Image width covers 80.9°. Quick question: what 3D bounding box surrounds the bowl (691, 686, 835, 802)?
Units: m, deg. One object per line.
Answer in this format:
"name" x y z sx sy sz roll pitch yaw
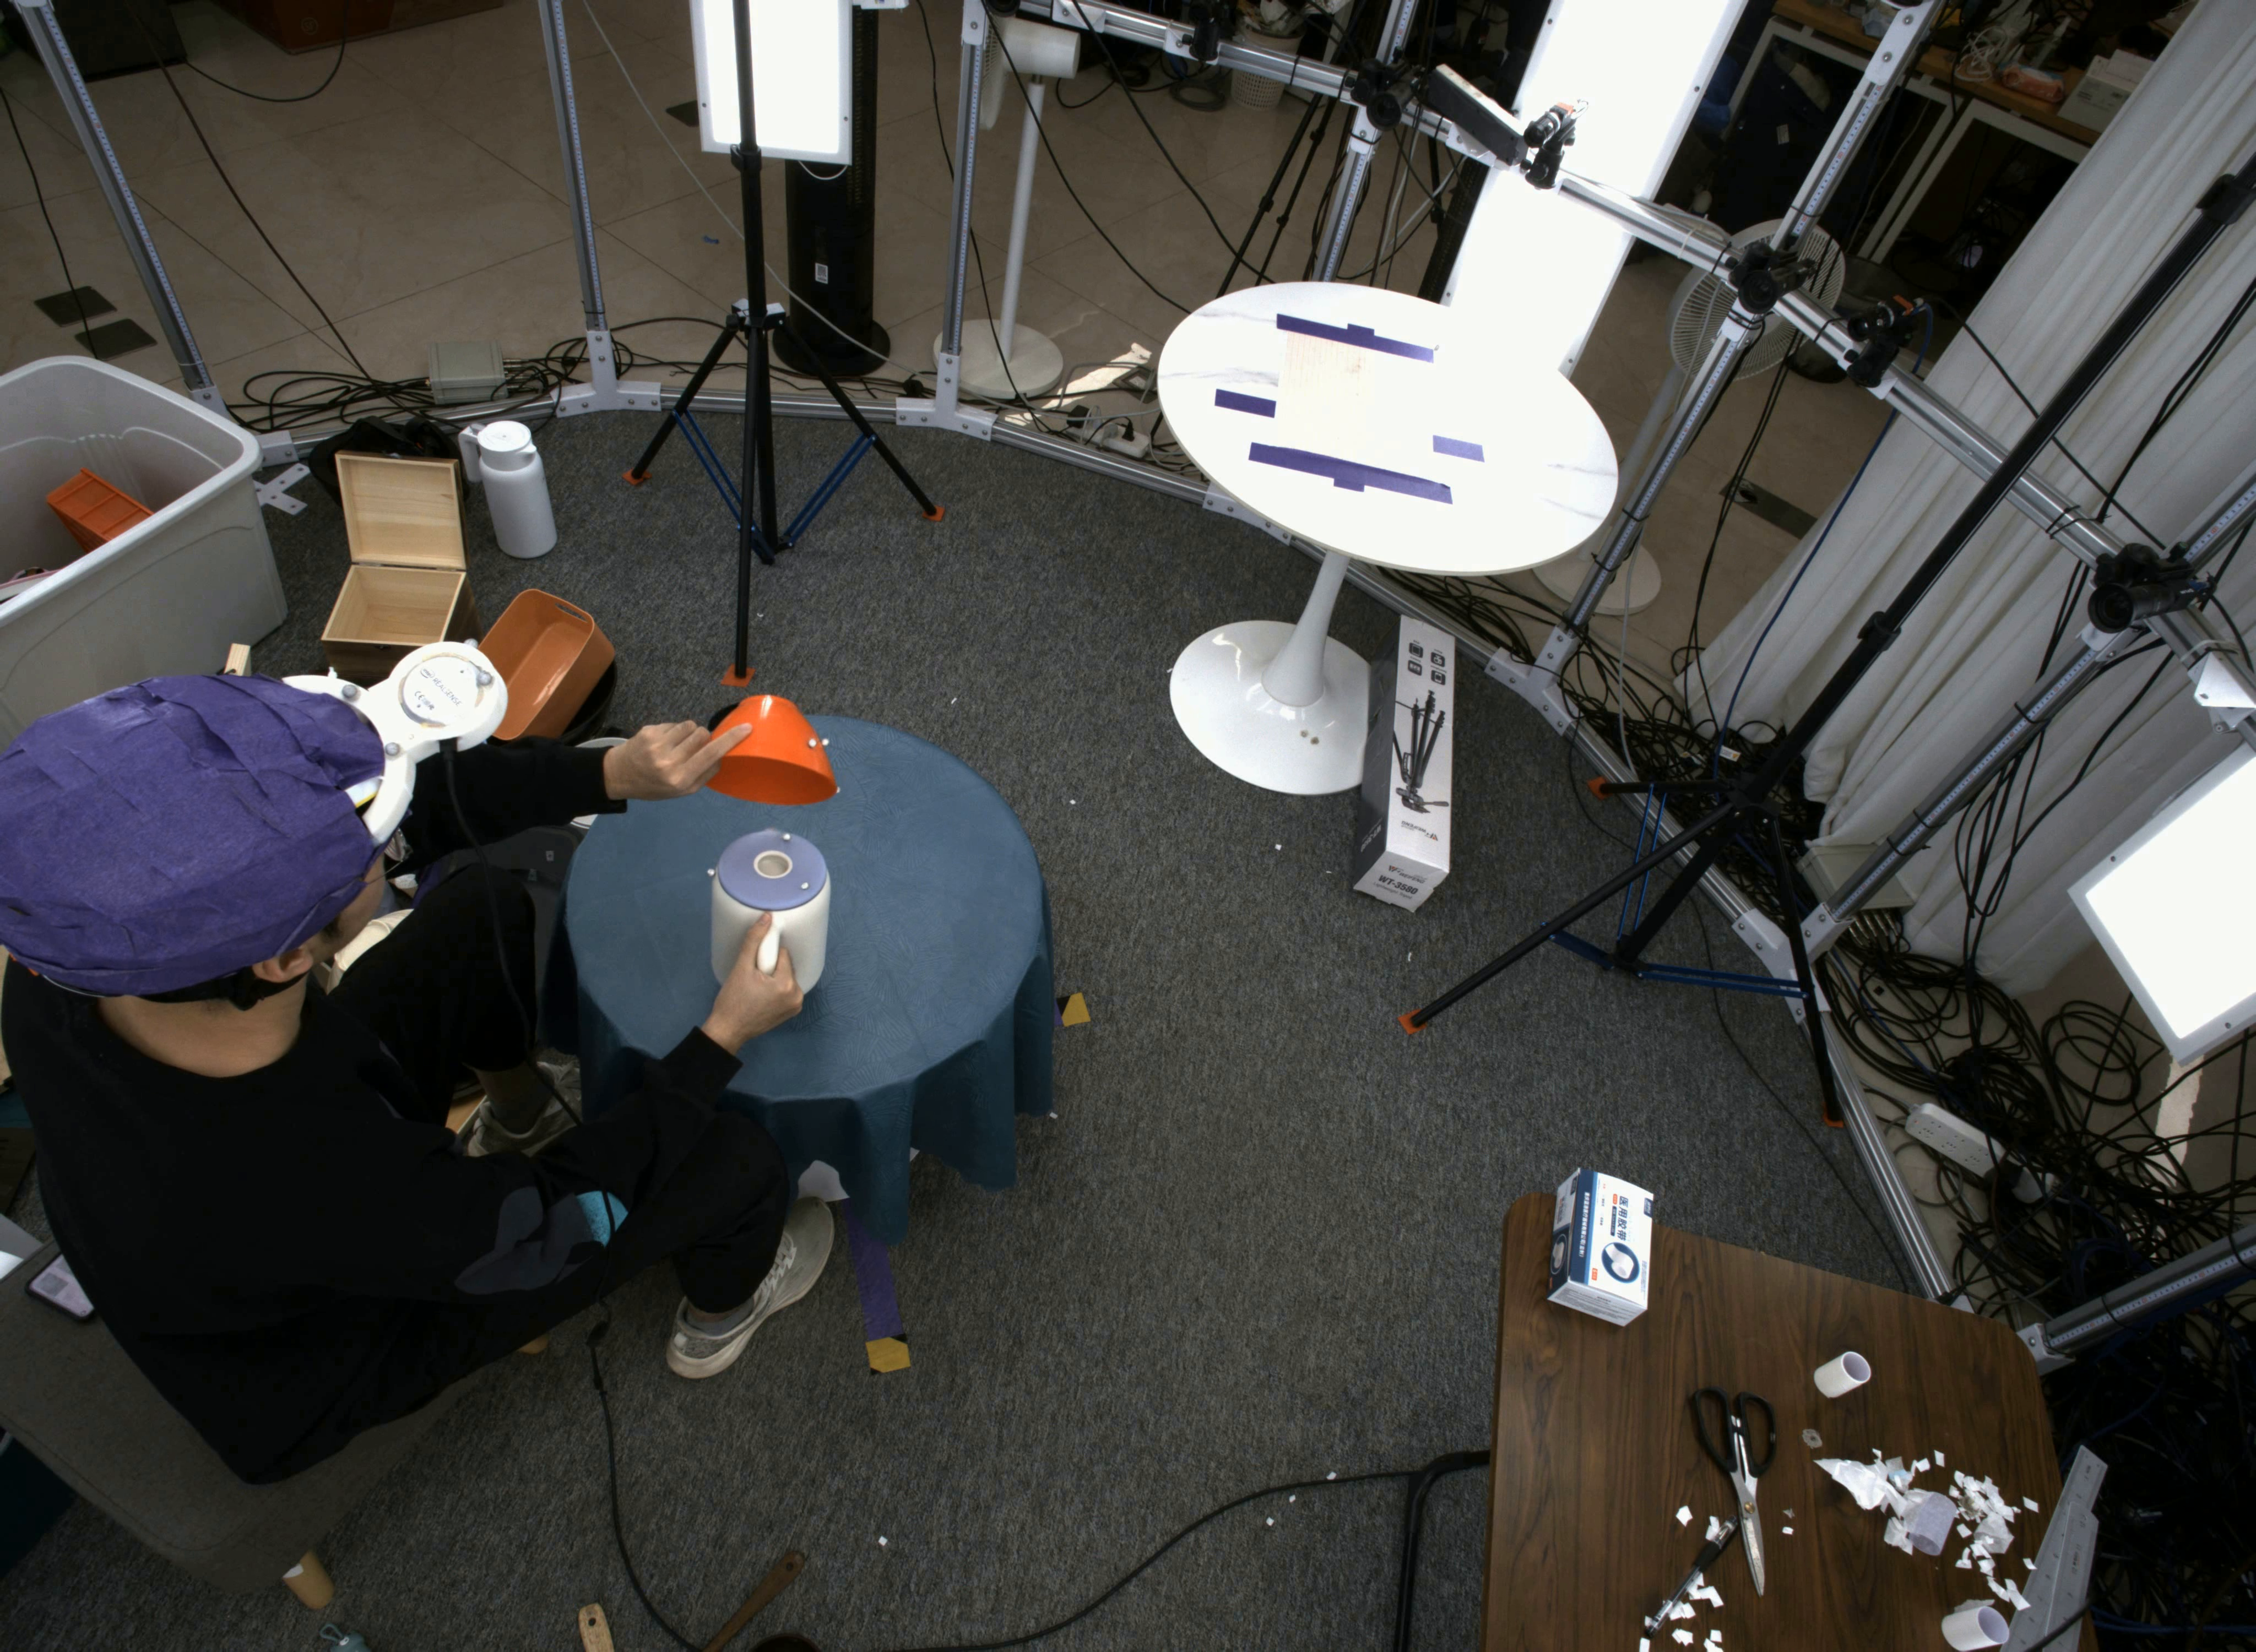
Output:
"bowl" -0.382 -0.091 1.363 0.148 0.150 0.103 2 62 -12

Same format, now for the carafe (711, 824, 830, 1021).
"carafe" -0.407 0.120 1.473 0.133 0.186 0.186 1 48 -15
